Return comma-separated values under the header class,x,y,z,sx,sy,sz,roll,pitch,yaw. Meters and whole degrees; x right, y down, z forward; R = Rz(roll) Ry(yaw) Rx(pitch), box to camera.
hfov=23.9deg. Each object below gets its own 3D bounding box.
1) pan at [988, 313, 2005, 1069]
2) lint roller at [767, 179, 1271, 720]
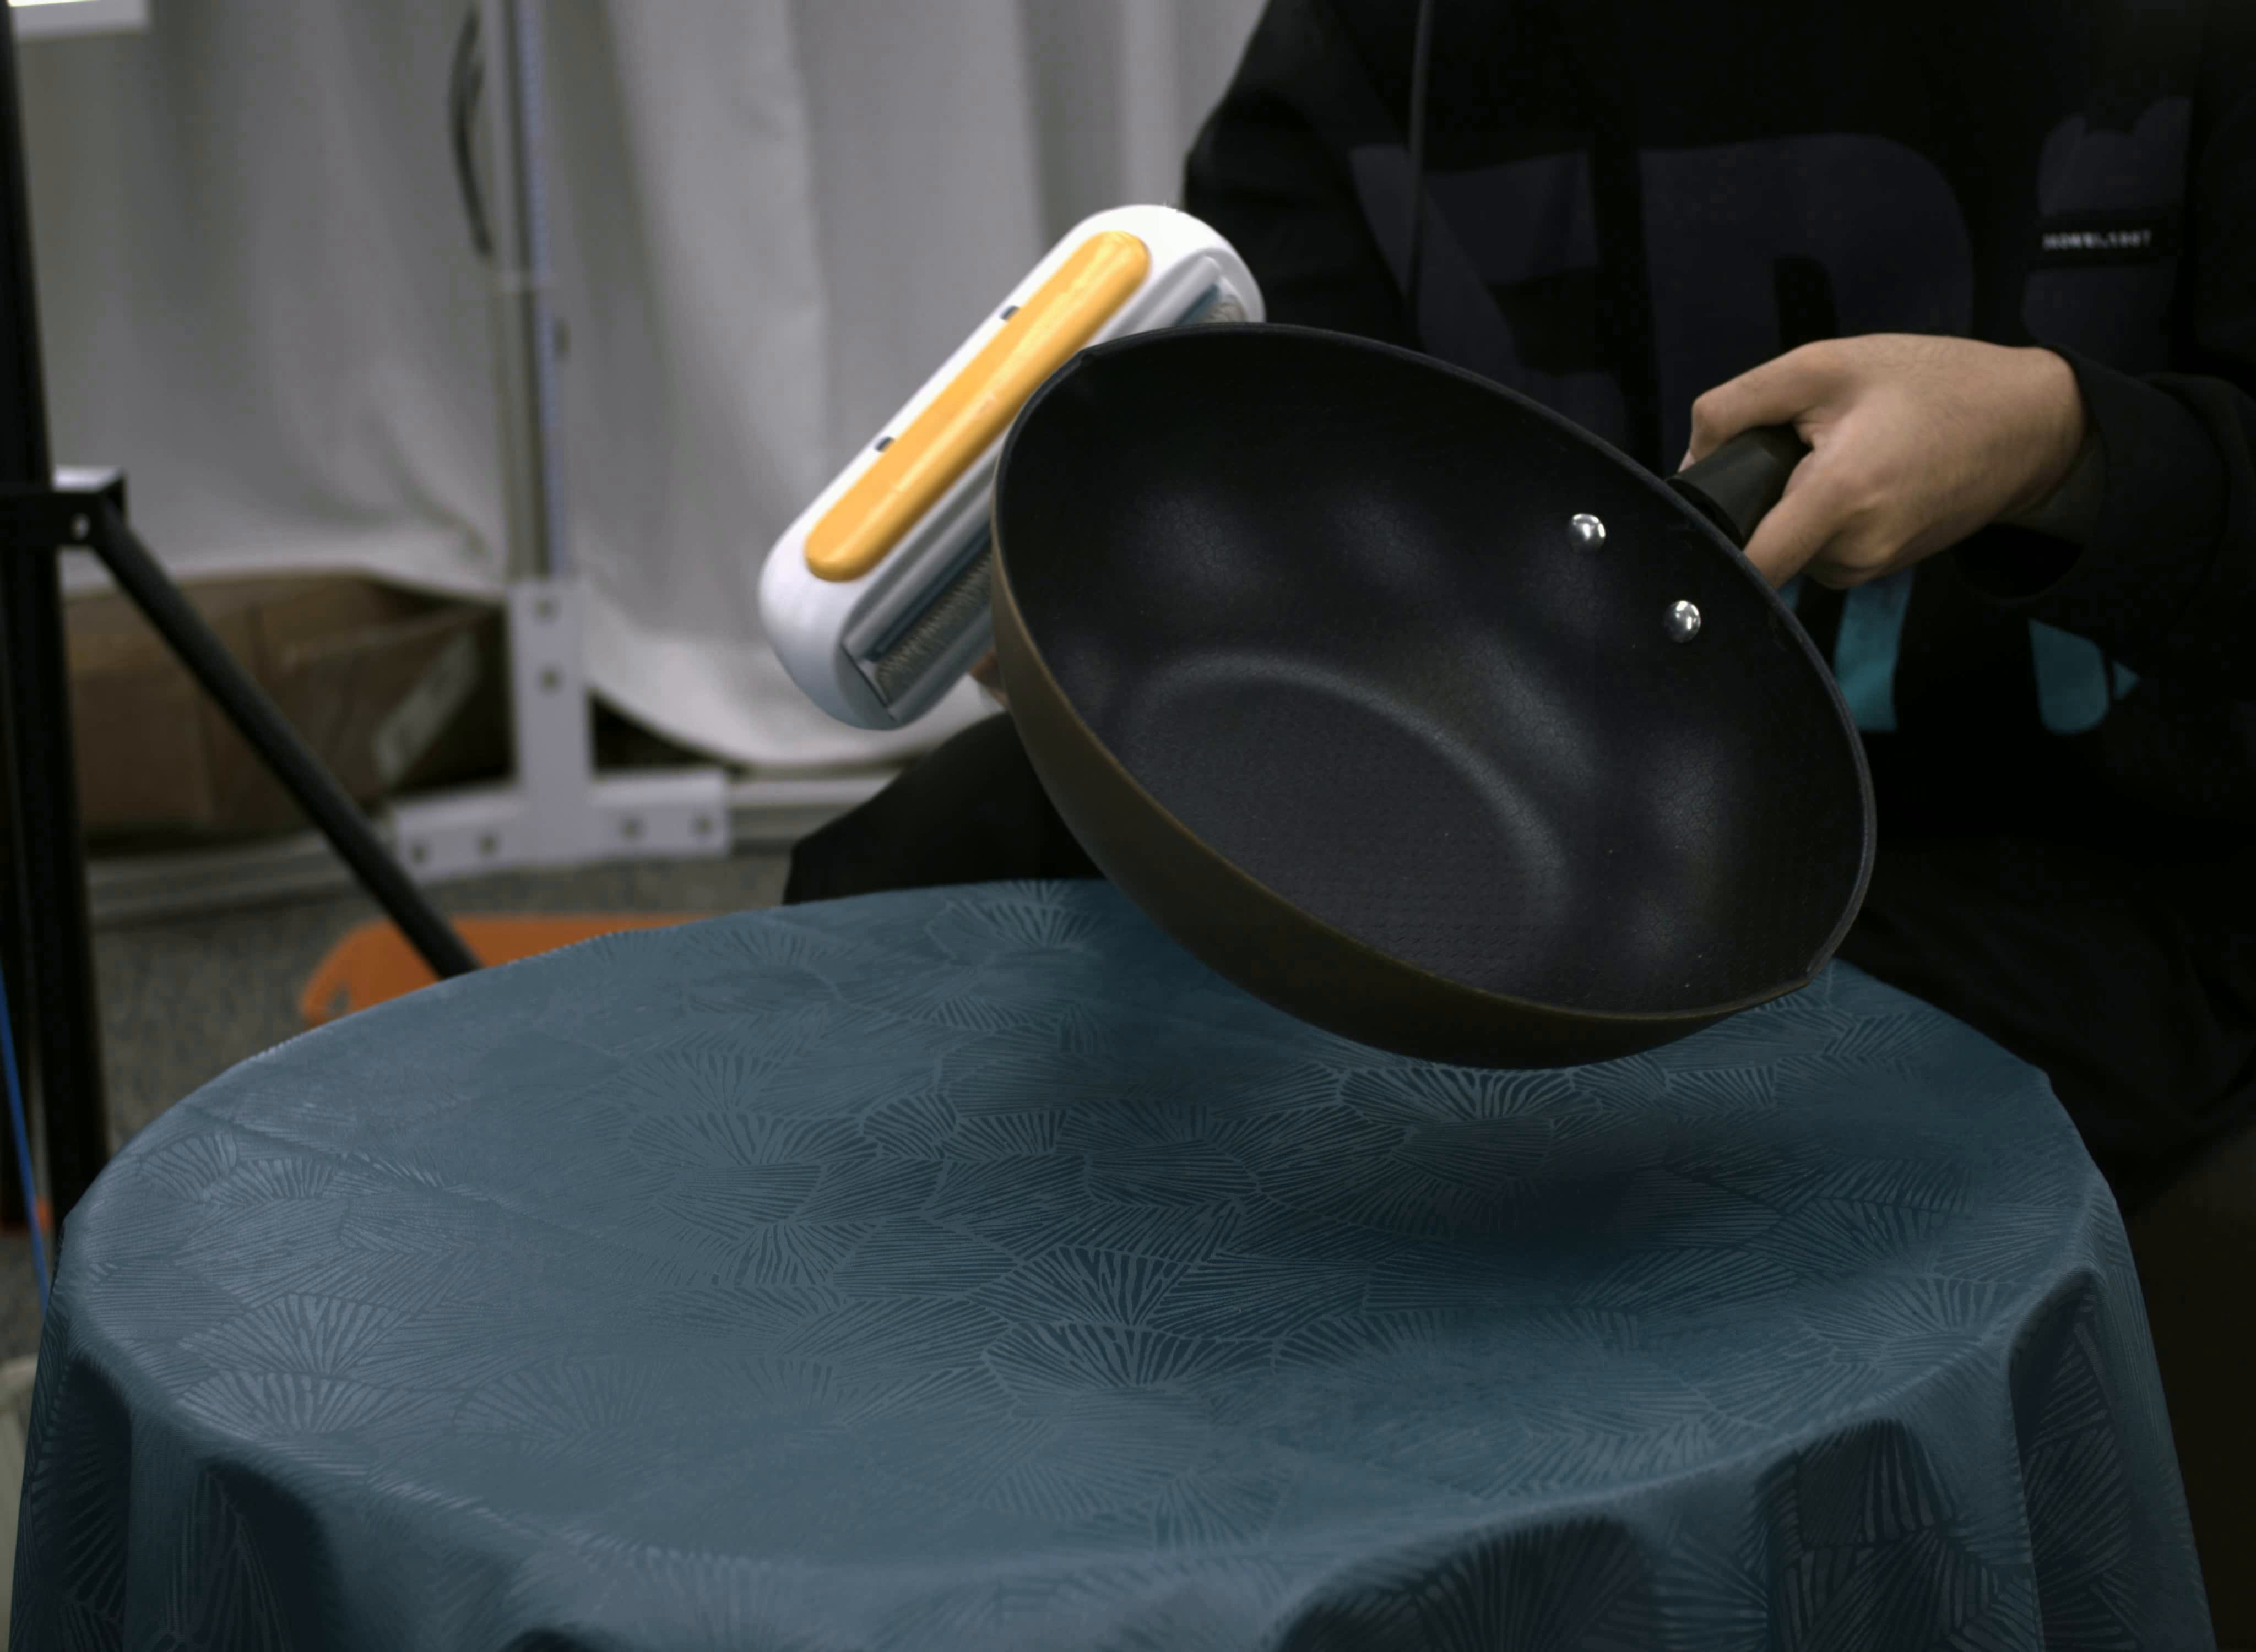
class,x,y,z,sx,sy,sz,roll,pitch,yaw
pan,0.129,-0.056,1.618,0.292,0.087,0.455,42,40,17
lint roller,-0.026,-0.091,1.698,0.075,0.189,0.192,30,70,31
